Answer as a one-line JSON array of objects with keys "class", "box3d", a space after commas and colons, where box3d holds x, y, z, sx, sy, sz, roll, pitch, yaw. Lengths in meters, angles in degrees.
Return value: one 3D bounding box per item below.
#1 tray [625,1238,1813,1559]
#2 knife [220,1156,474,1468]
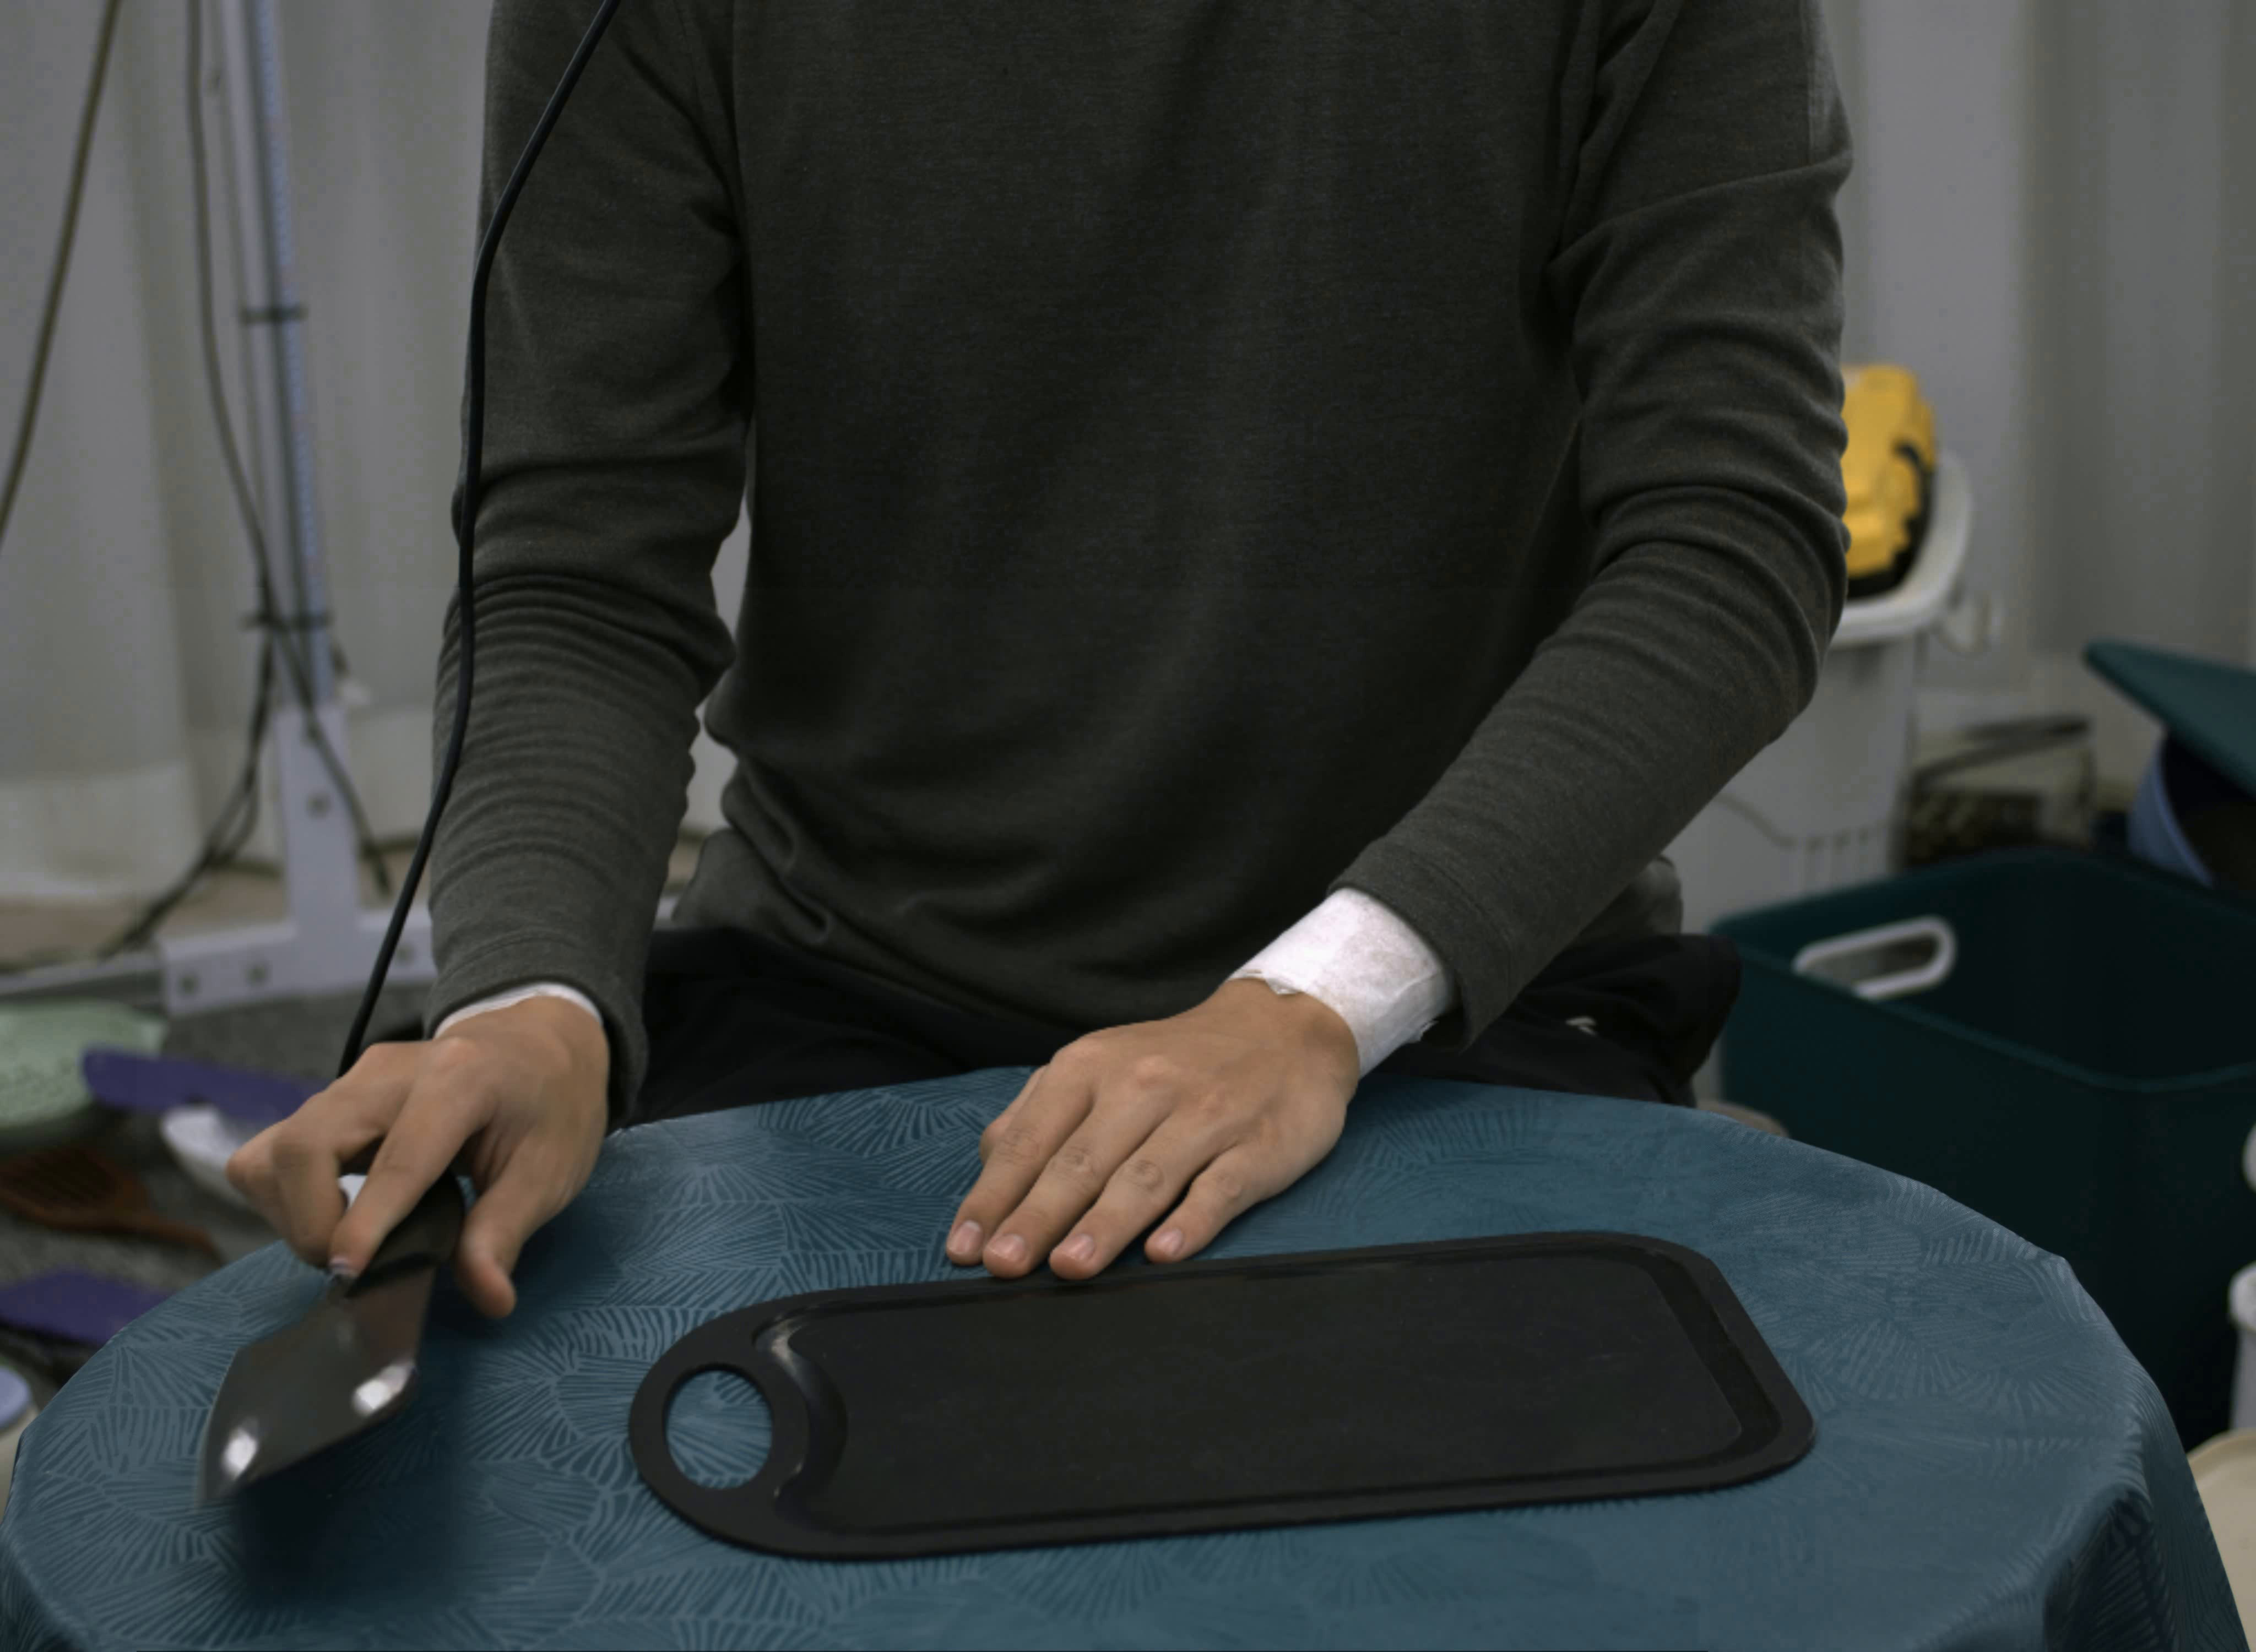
[{"class": "tray", "box3d": [0.021, 0.158, 1.539, 0.324, 0.010, 0.212, -4, 14, -4]}, {"class": "knife", "box3d": [-0.219, 0.136, 1.557, 0.081, 0.021, 0.303, -22, 9, 2]}]
